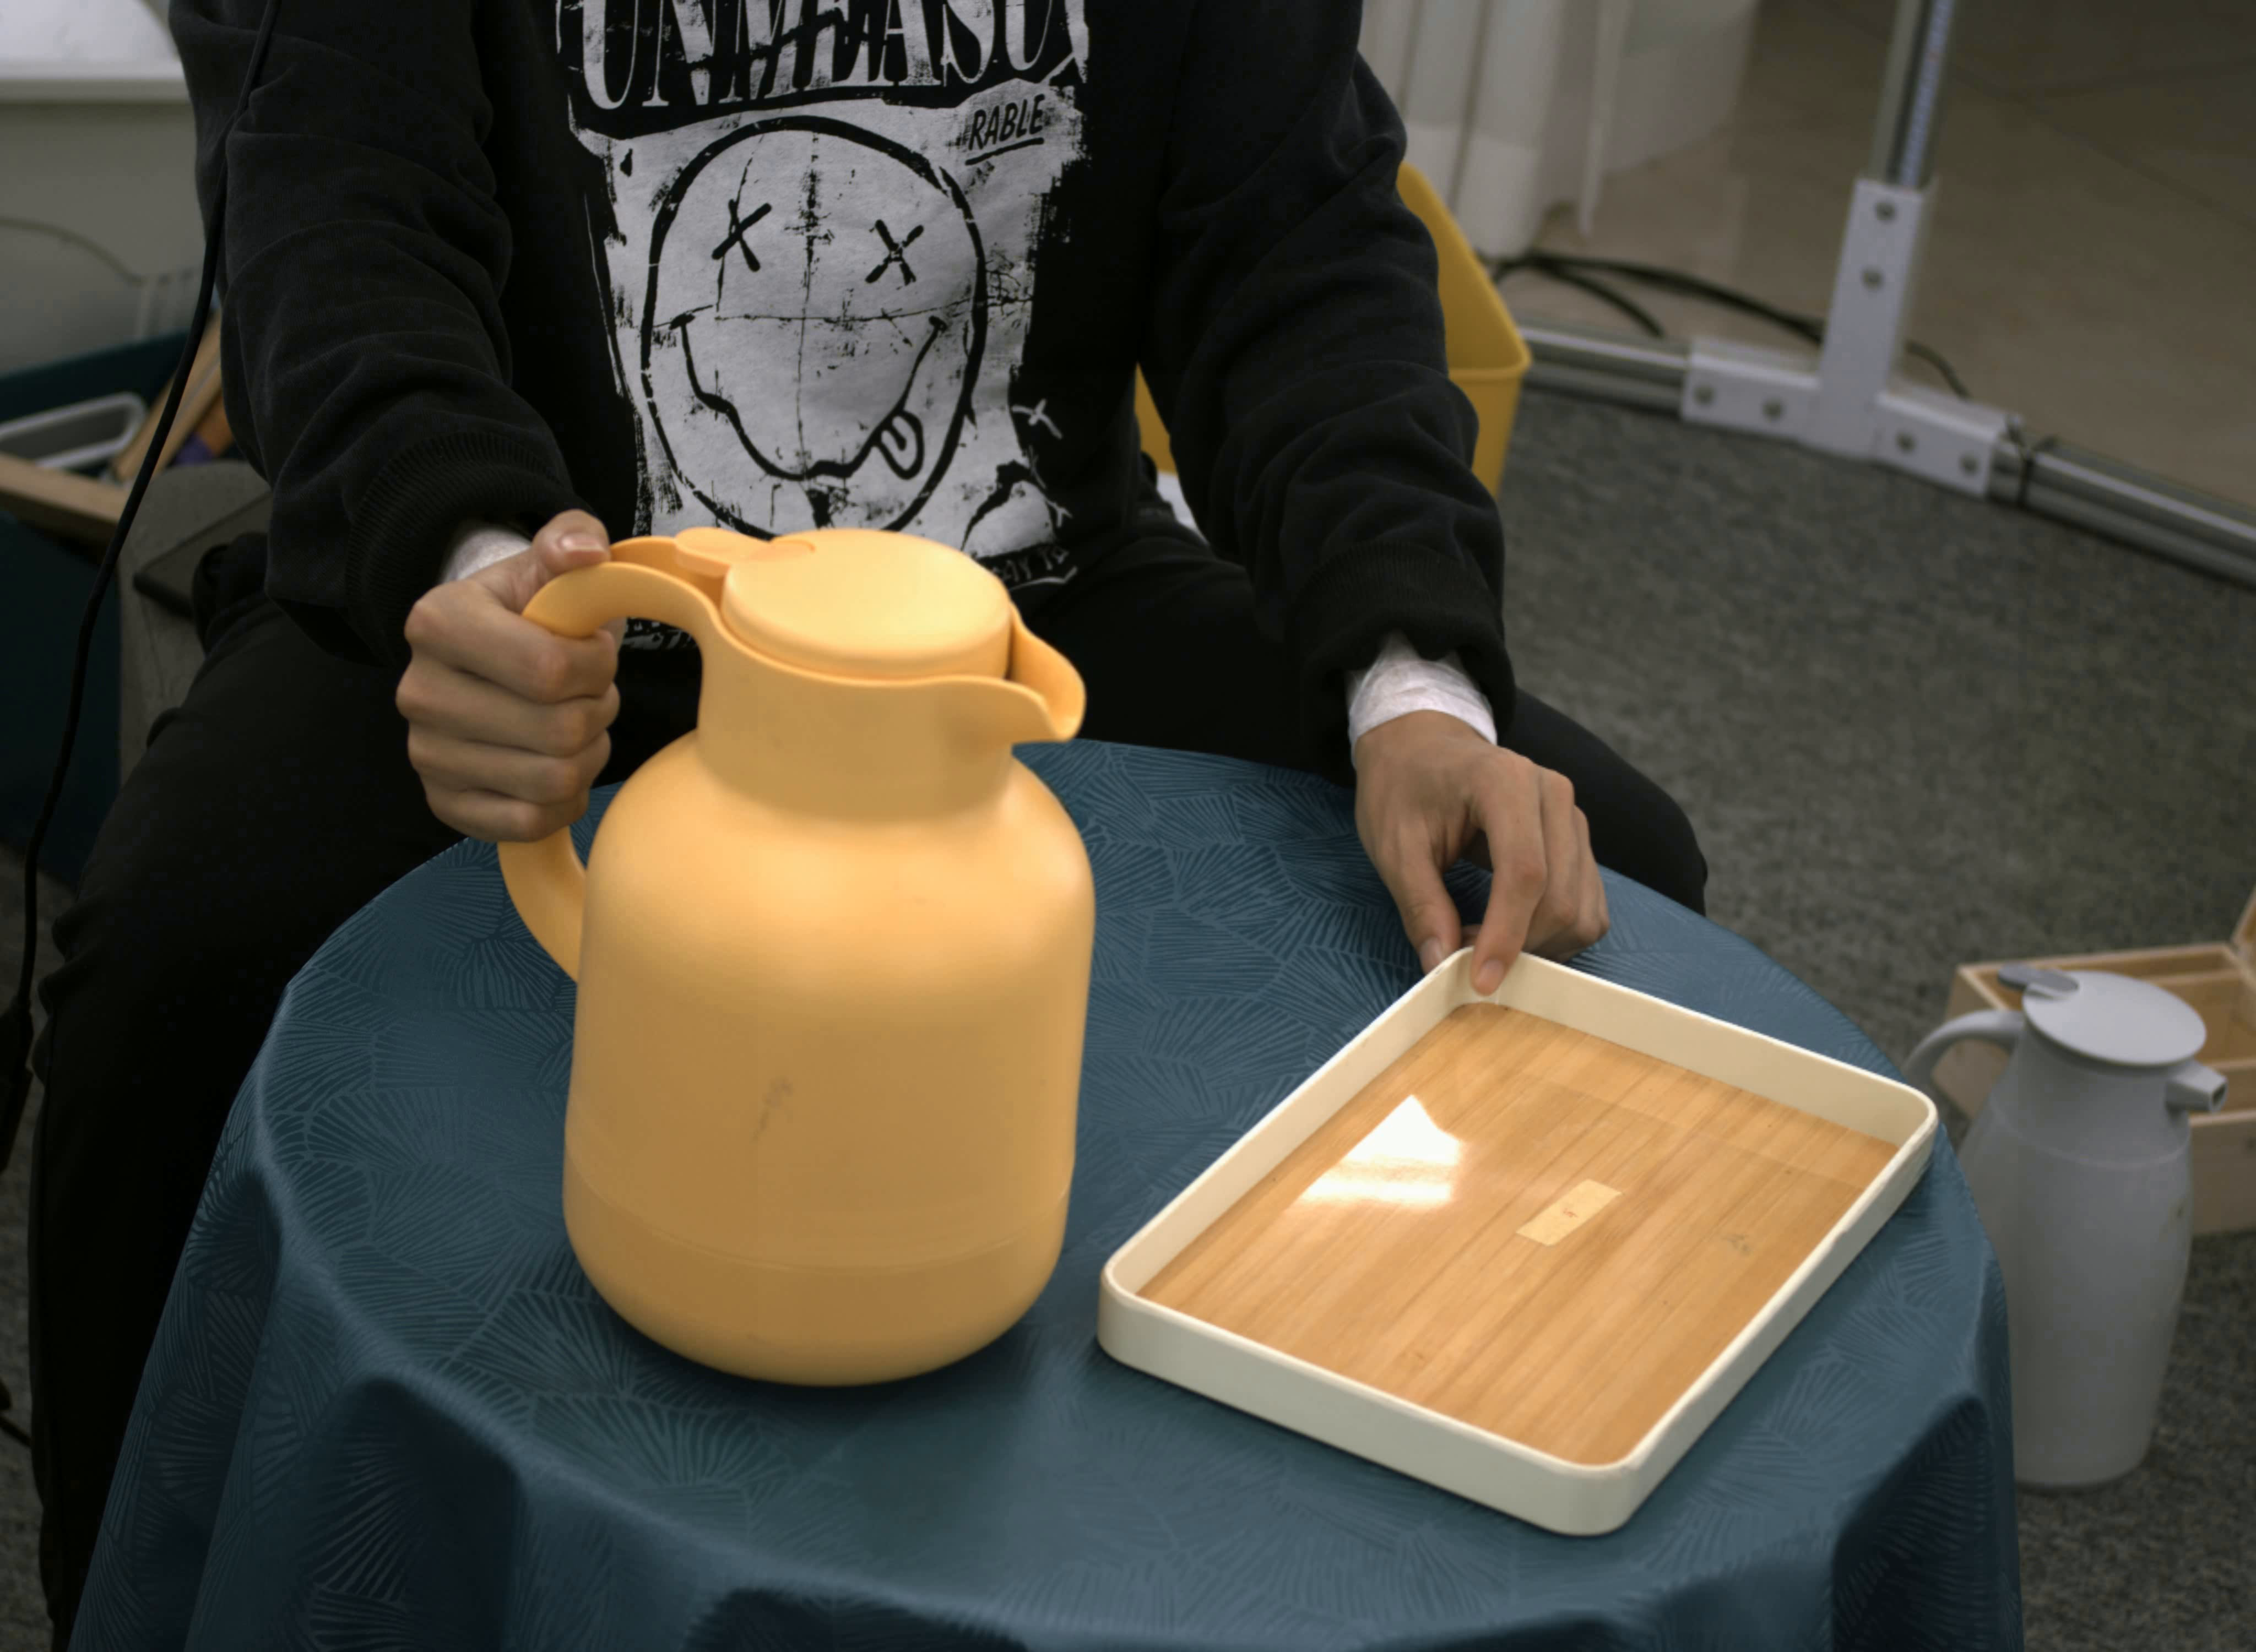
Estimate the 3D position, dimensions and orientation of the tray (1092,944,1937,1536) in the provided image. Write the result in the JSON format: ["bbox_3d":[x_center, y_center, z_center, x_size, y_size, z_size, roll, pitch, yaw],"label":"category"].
[{"bbox_3d":[0.135,0.132,1.789,0.192,0.027,0.300,19,29,23],"label":"tray"}]

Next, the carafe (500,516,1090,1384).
[{"bbox_3d":[-0.109,0.028,1.678,0.203,0.260,0.163,21,28,24],"label":"carafe"}]
